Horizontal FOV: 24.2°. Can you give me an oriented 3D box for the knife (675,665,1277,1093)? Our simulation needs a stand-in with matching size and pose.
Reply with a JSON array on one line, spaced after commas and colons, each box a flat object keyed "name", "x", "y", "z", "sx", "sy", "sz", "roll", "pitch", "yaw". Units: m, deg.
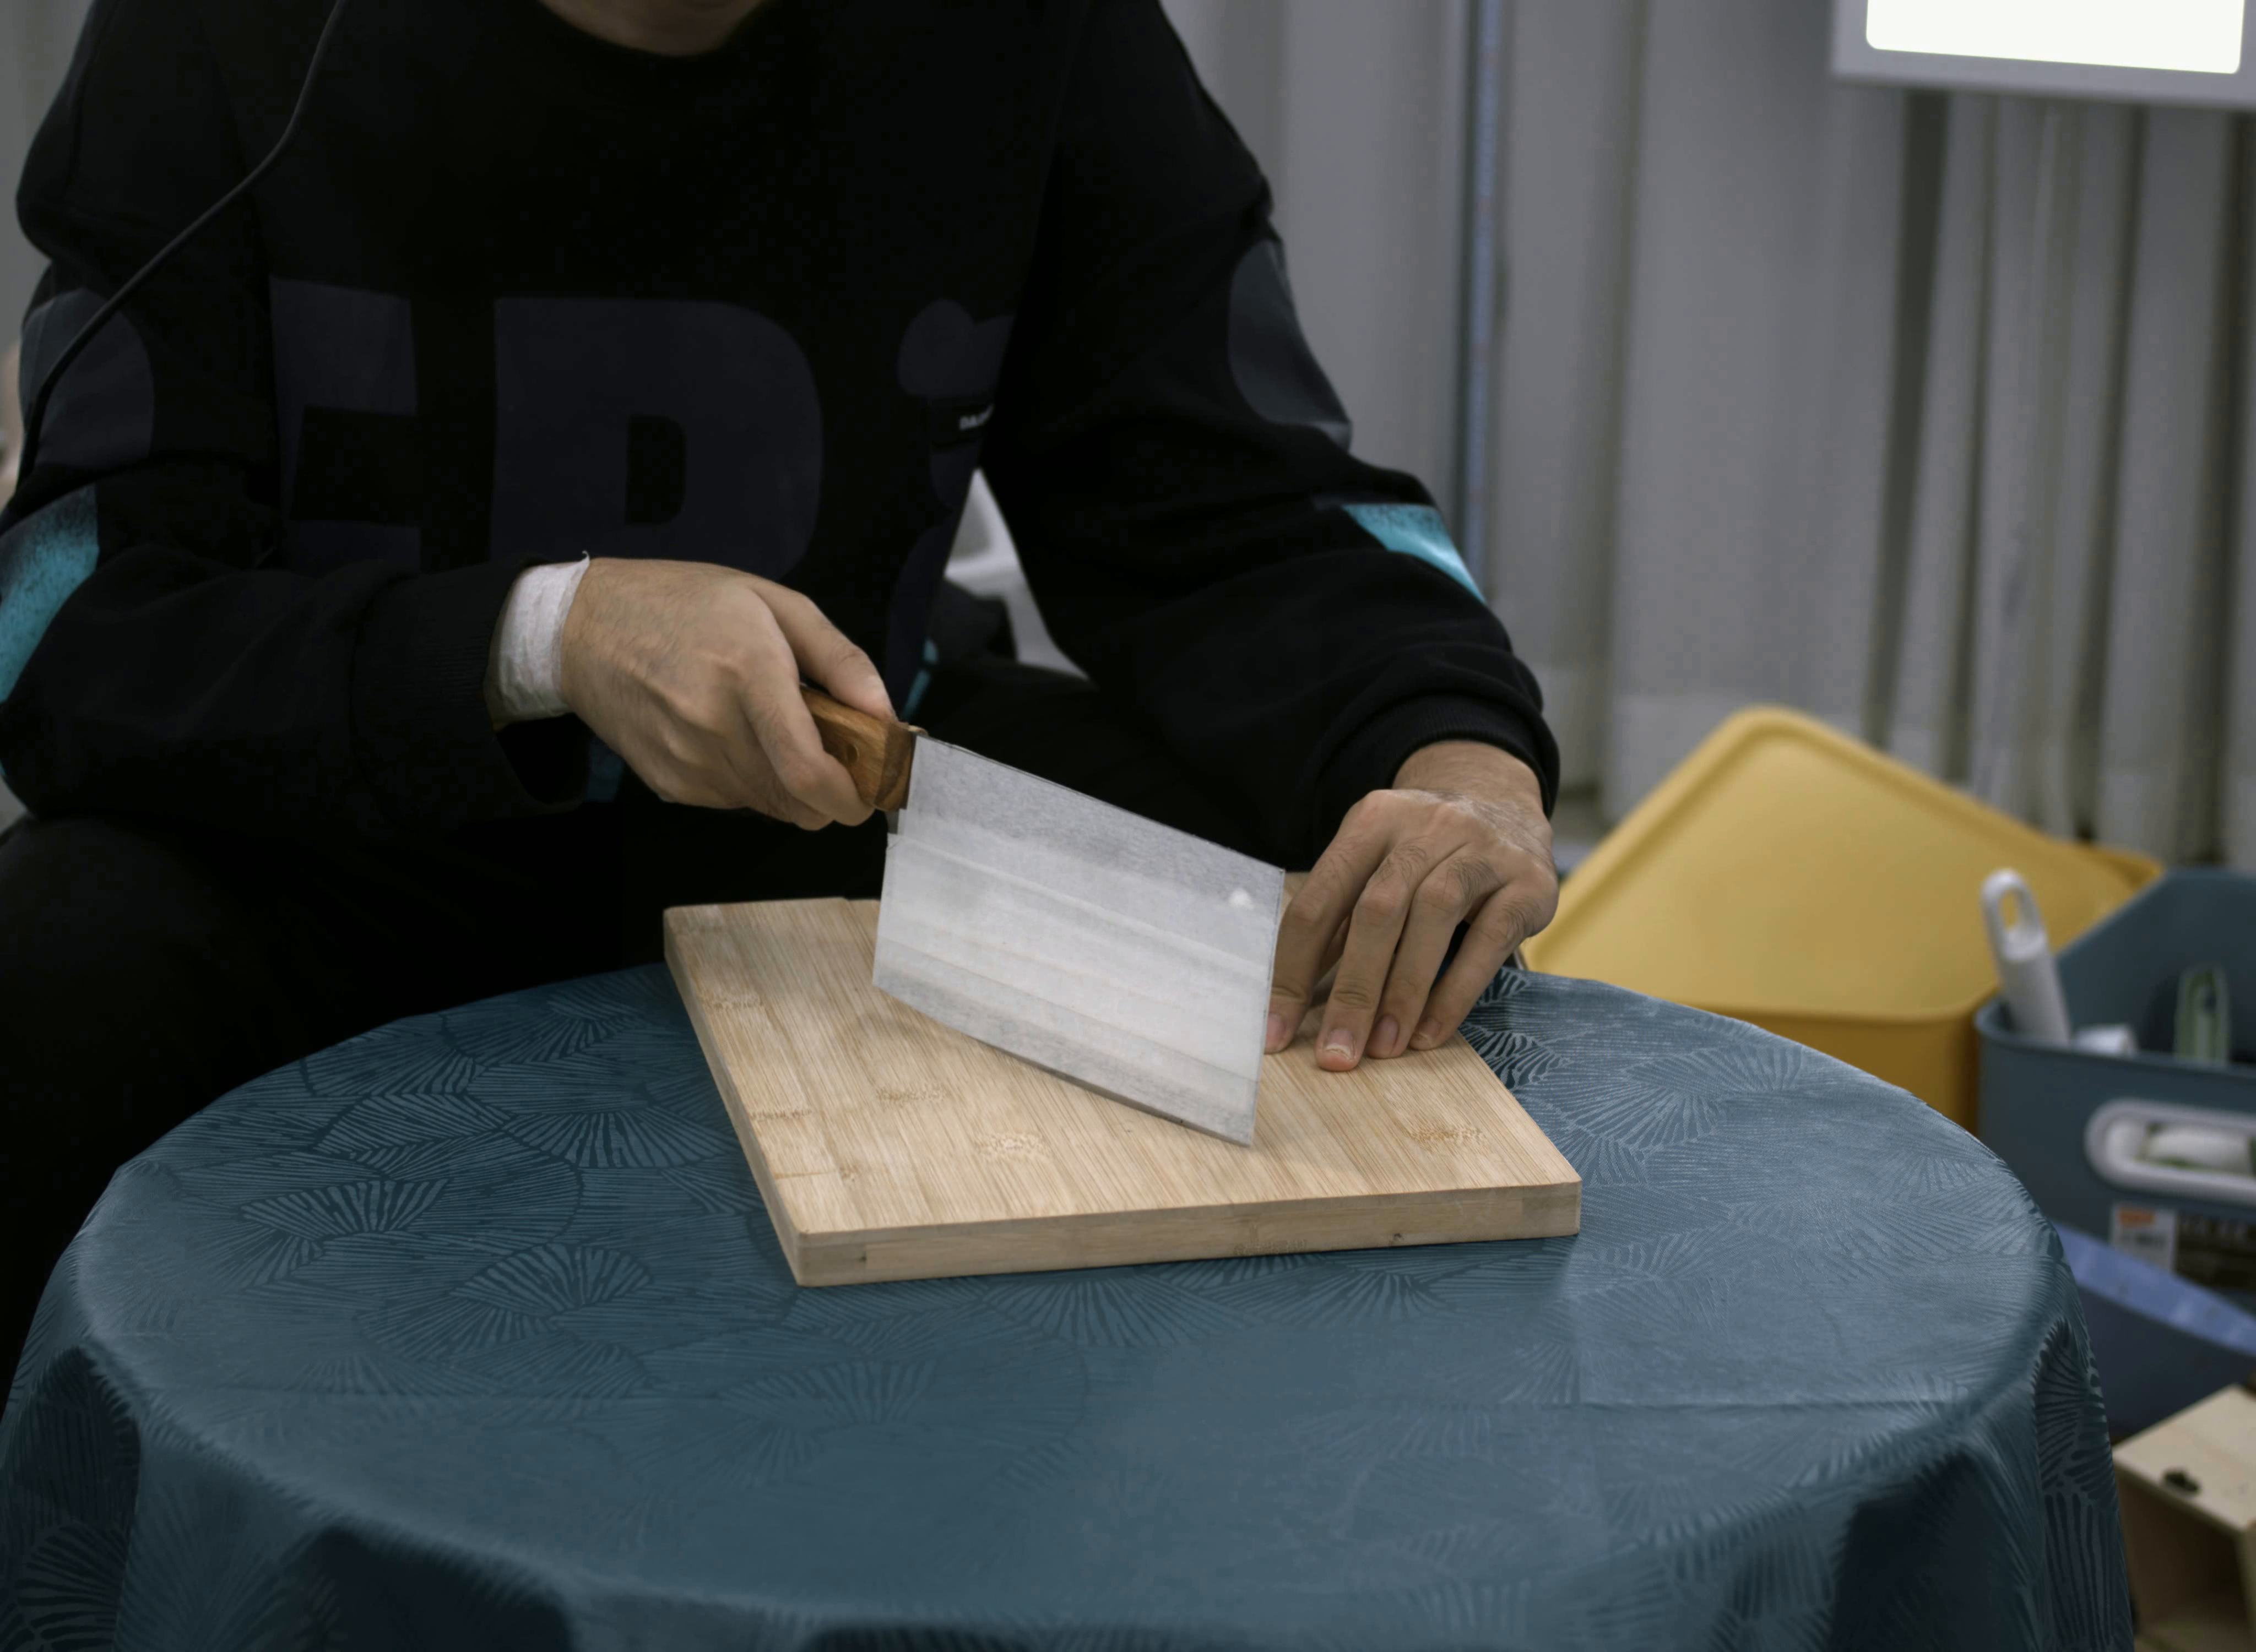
[{"name": "knife", "x": -0.055, "y": 0.017, "z": 1.699, "sx": 0.021, "sy": 0.093, "sz": 0.301, "roll": -6, "pitch": 18, "yaw": -41}]

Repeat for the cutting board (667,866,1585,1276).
[{"name": "cutting board", "x": -0.012, "y": 0.075, "z": 1.724, "sx": 0.251, "sy": 0.024, "sz": 0.345, "roll": -3, "pitch": 16, "yaw": -12}]
